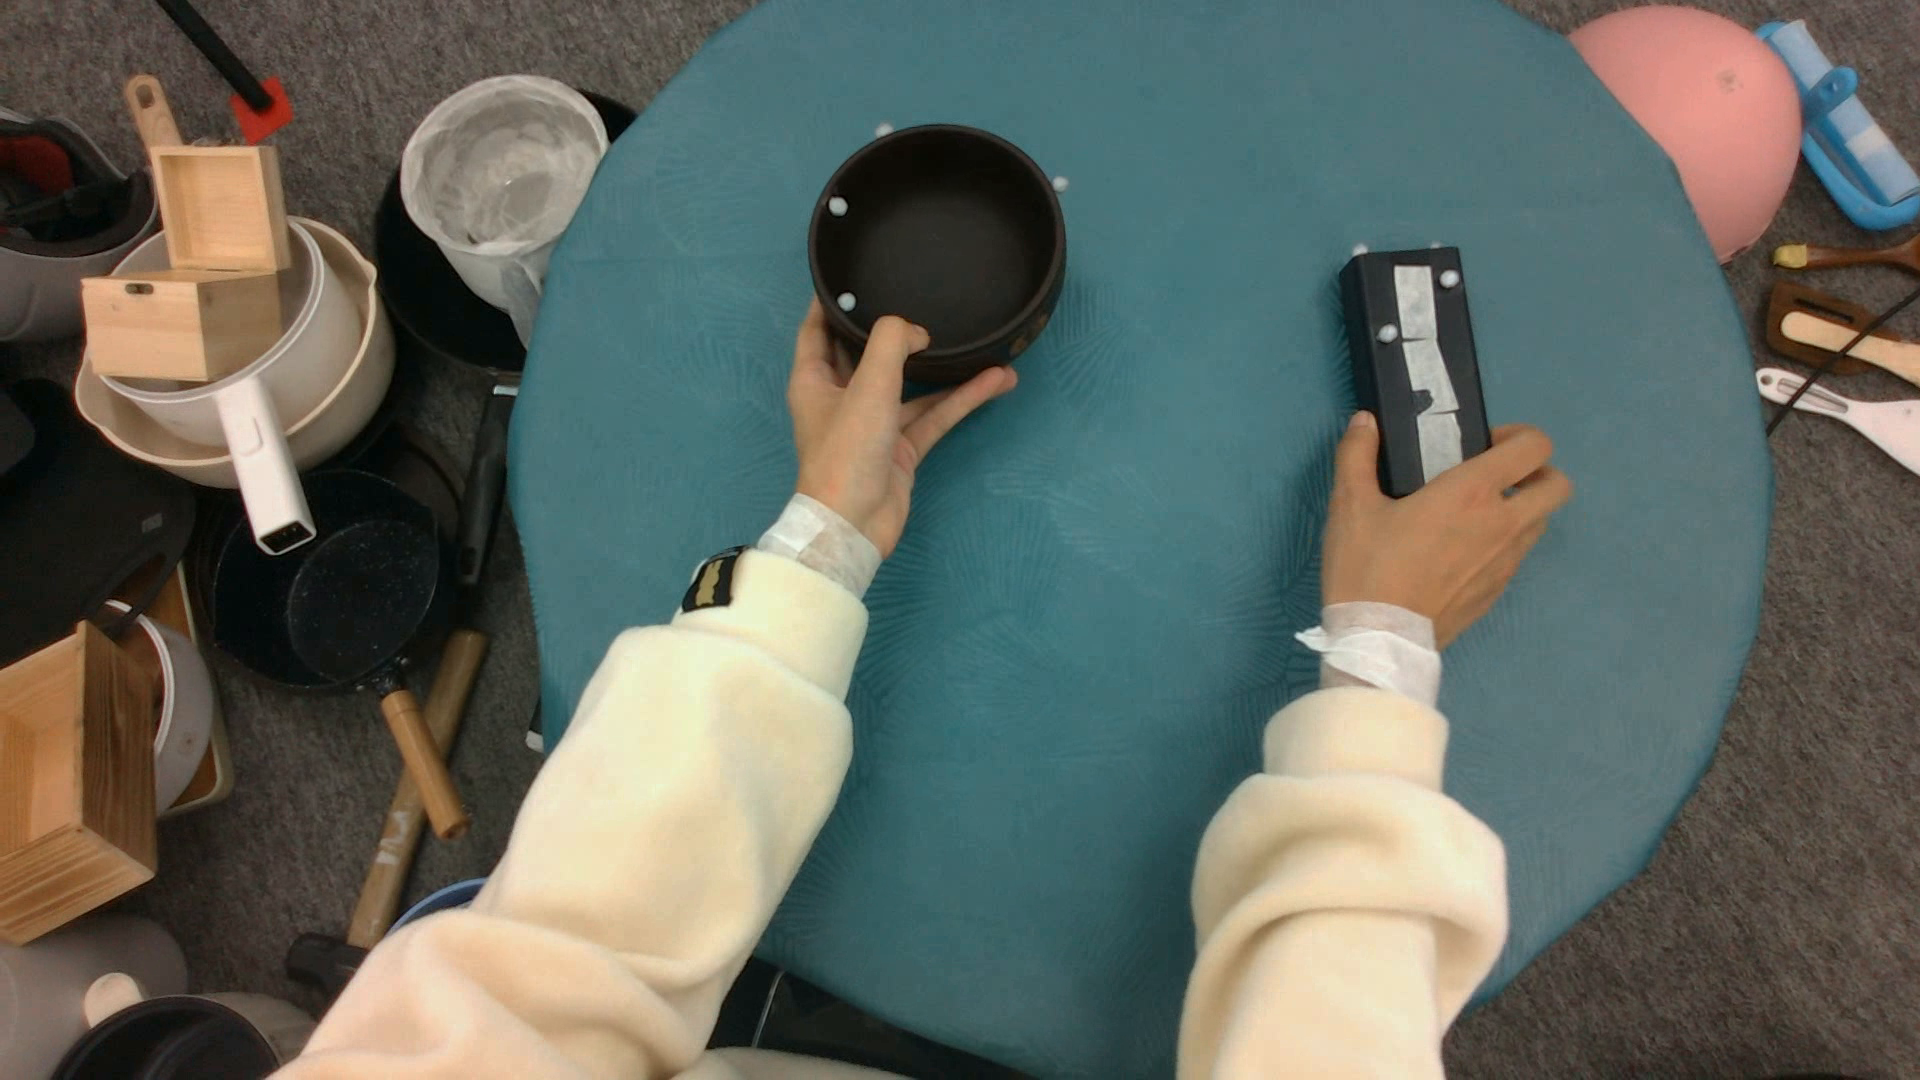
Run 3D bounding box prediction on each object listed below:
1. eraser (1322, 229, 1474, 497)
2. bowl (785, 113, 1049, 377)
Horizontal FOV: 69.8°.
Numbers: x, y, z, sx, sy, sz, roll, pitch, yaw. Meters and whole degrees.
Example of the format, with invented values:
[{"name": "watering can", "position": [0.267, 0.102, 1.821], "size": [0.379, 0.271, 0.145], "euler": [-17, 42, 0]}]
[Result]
[{"name": "eraser", "position": [0.206, -0.084, 0.654], "size": [0.053, 0.030, 0.126], "euler": [-4, 78, 0]}, {"name": "bowl", "position": [-0.017, -0.130, 0.639], "size": [0.118, 0.070, 0.118], "euler": [-2, 75, 6]}]
